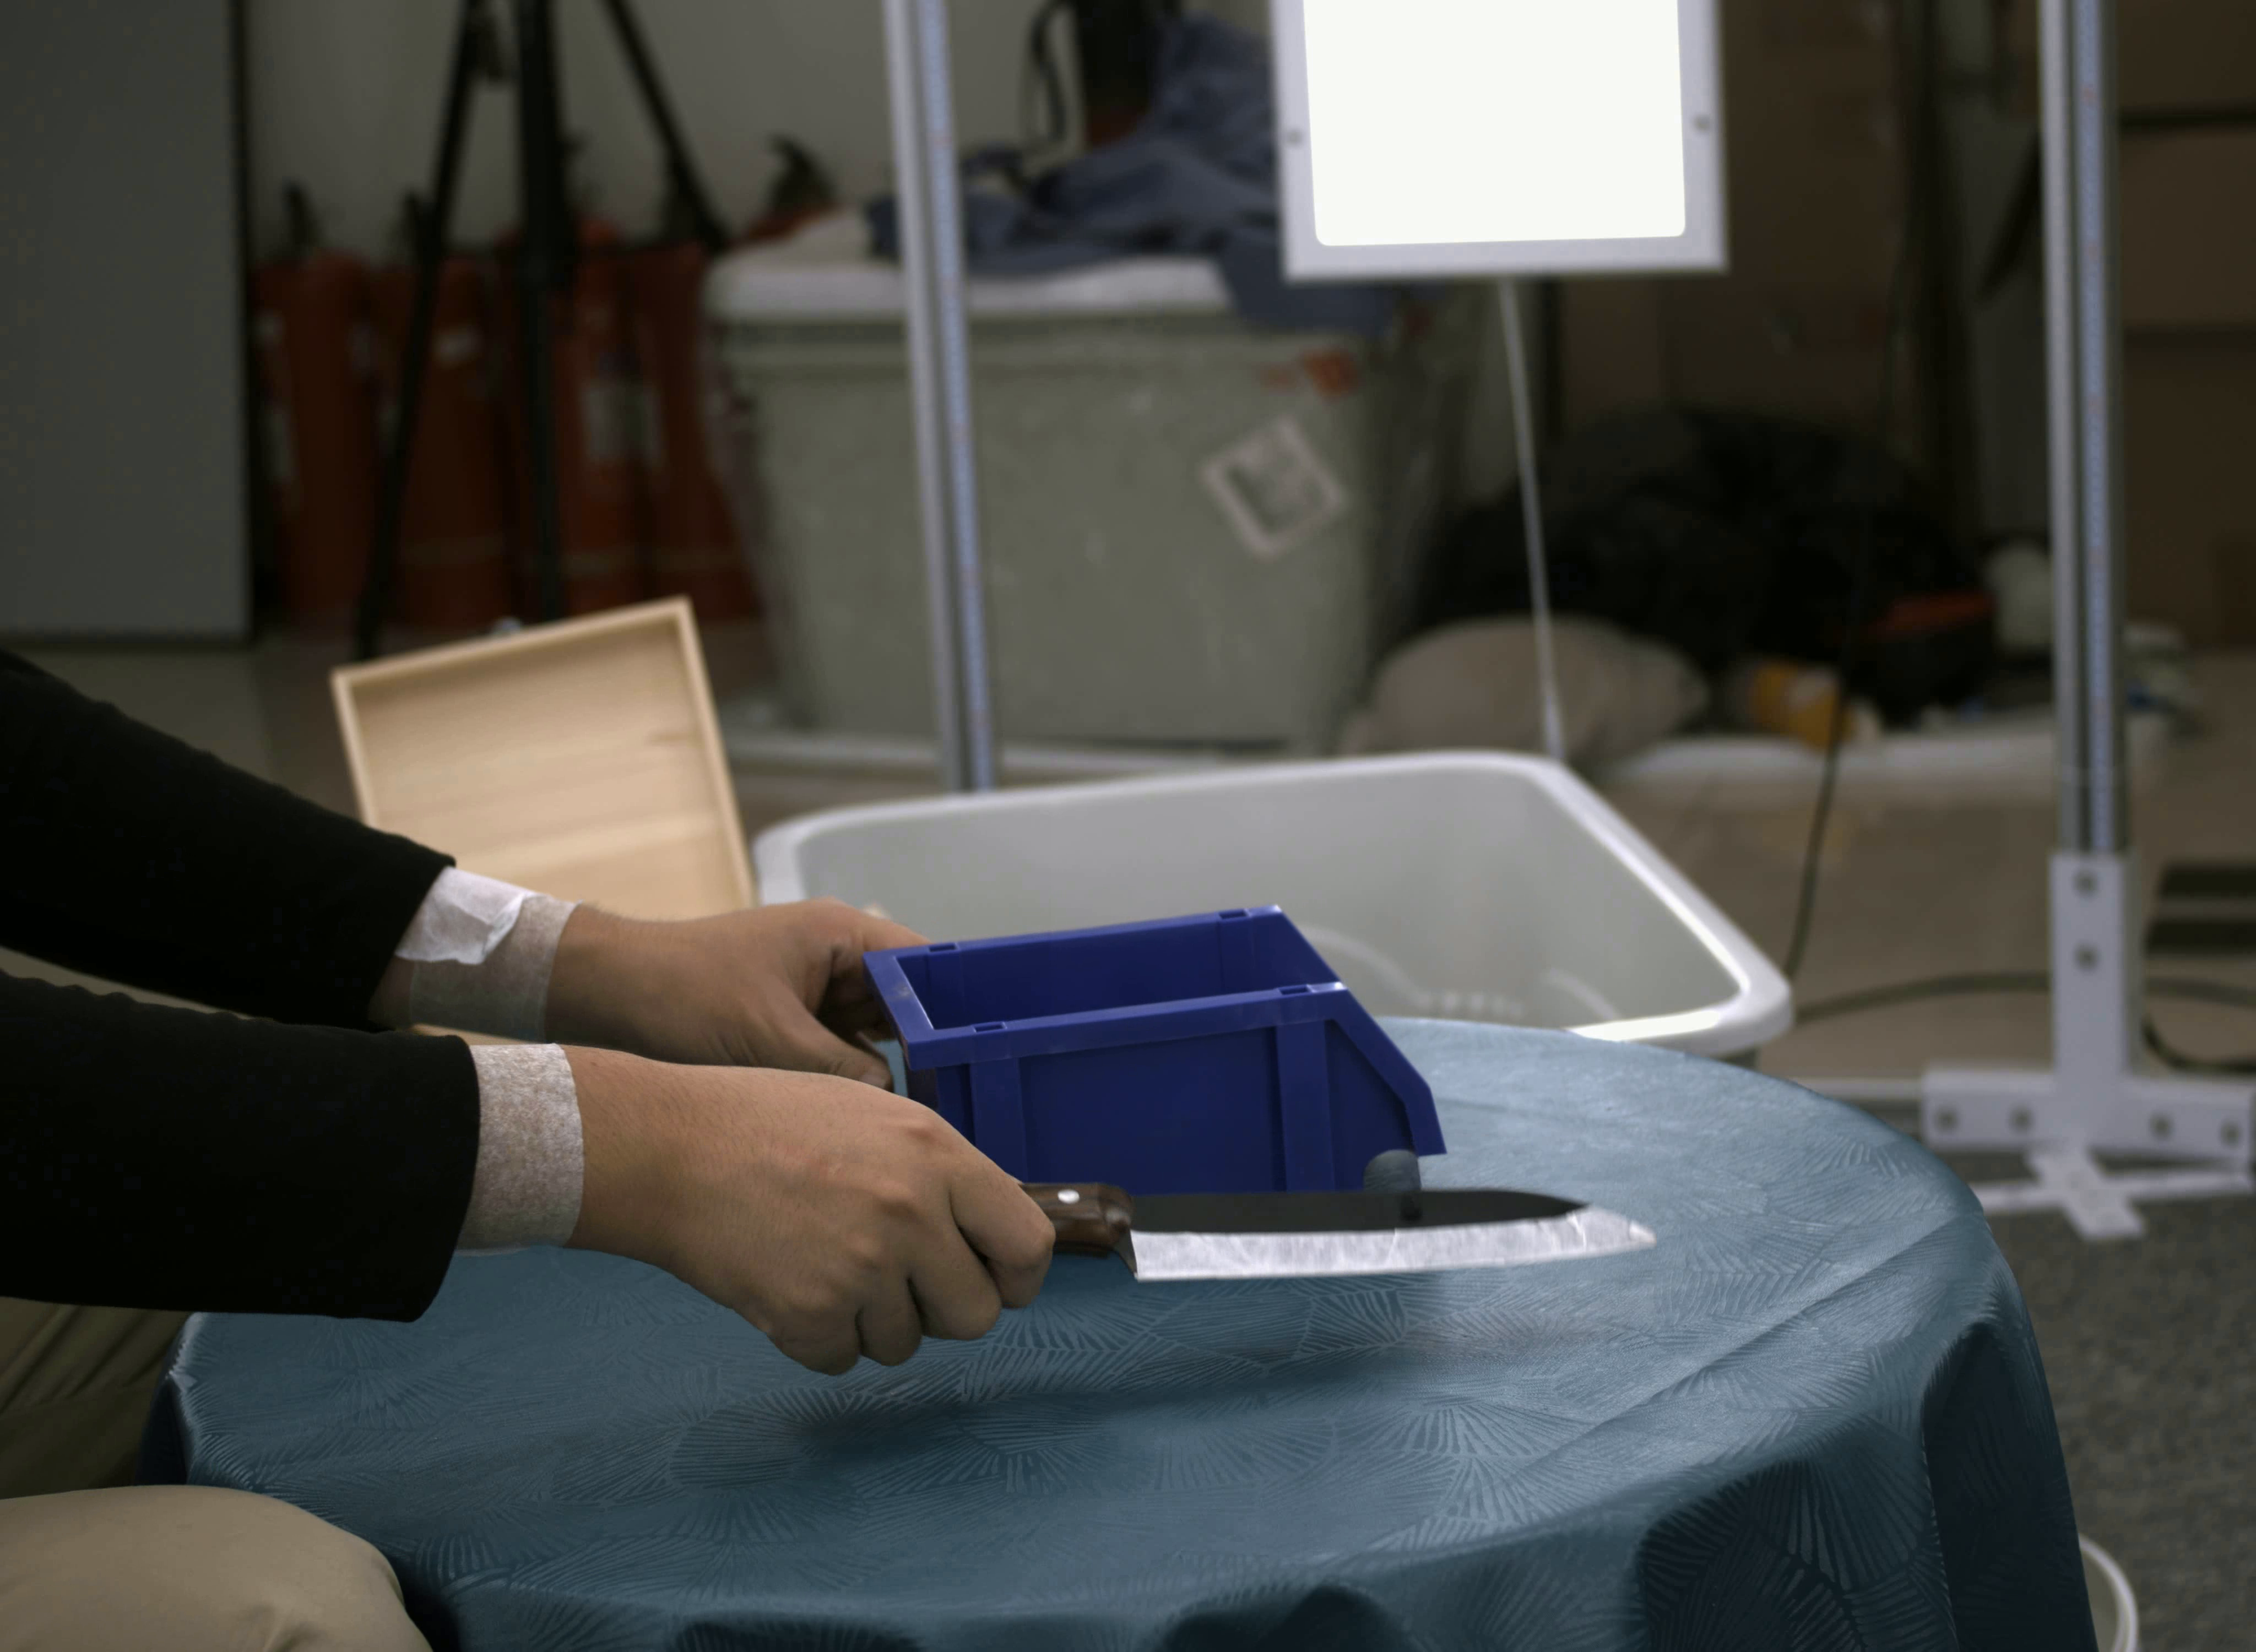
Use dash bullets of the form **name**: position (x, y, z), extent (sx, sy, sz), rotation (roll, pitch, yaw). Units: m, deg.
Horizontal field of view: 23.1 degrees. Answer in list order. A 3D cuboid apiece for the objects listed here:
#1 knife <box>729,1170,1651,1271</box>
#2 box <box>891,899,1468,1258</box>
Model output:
- **knife**: position (0.021, 0.123, 1.707), extent (0.287, 0.020, 0.050), rotation (-1, 31, -4)
- **box**: position (0.017, 0.084, 1.895), extent (0.178, 0.082, 0.125), rotation (-9, 14, -5)
